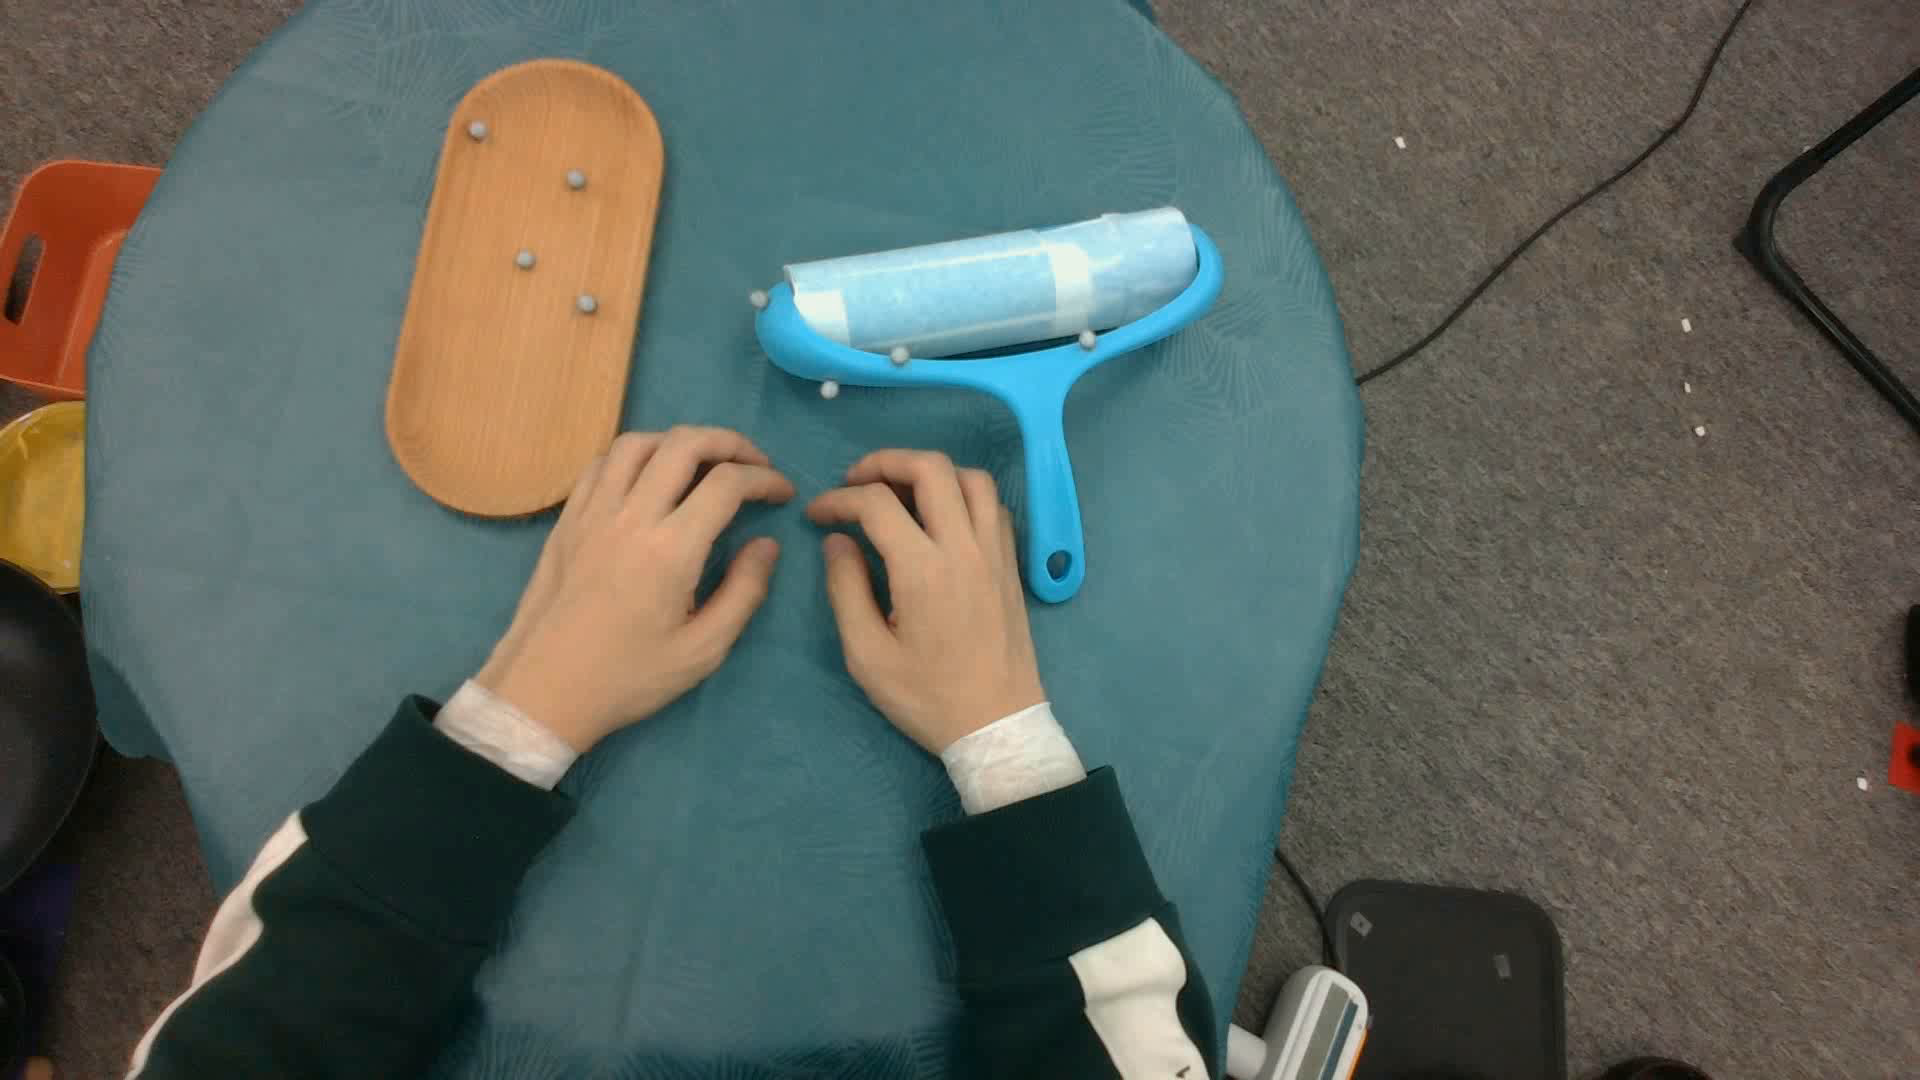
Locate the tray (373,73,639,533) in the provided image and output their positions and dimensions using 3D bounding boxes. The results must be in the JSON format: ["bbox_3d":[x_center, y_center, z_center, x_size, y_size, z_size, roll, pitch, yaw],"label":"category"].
[{"bbox_3d":[-0.209,-0.114,0.645,0.102,0.020,0.231,5,75,-7],"label":"tray"}]

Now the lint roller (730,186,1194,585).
[{"bbox_3d":[0.022,-0.071,0.649,0.229,0.067,0.180,-15,77,-14],"label":"lint roller"}]
